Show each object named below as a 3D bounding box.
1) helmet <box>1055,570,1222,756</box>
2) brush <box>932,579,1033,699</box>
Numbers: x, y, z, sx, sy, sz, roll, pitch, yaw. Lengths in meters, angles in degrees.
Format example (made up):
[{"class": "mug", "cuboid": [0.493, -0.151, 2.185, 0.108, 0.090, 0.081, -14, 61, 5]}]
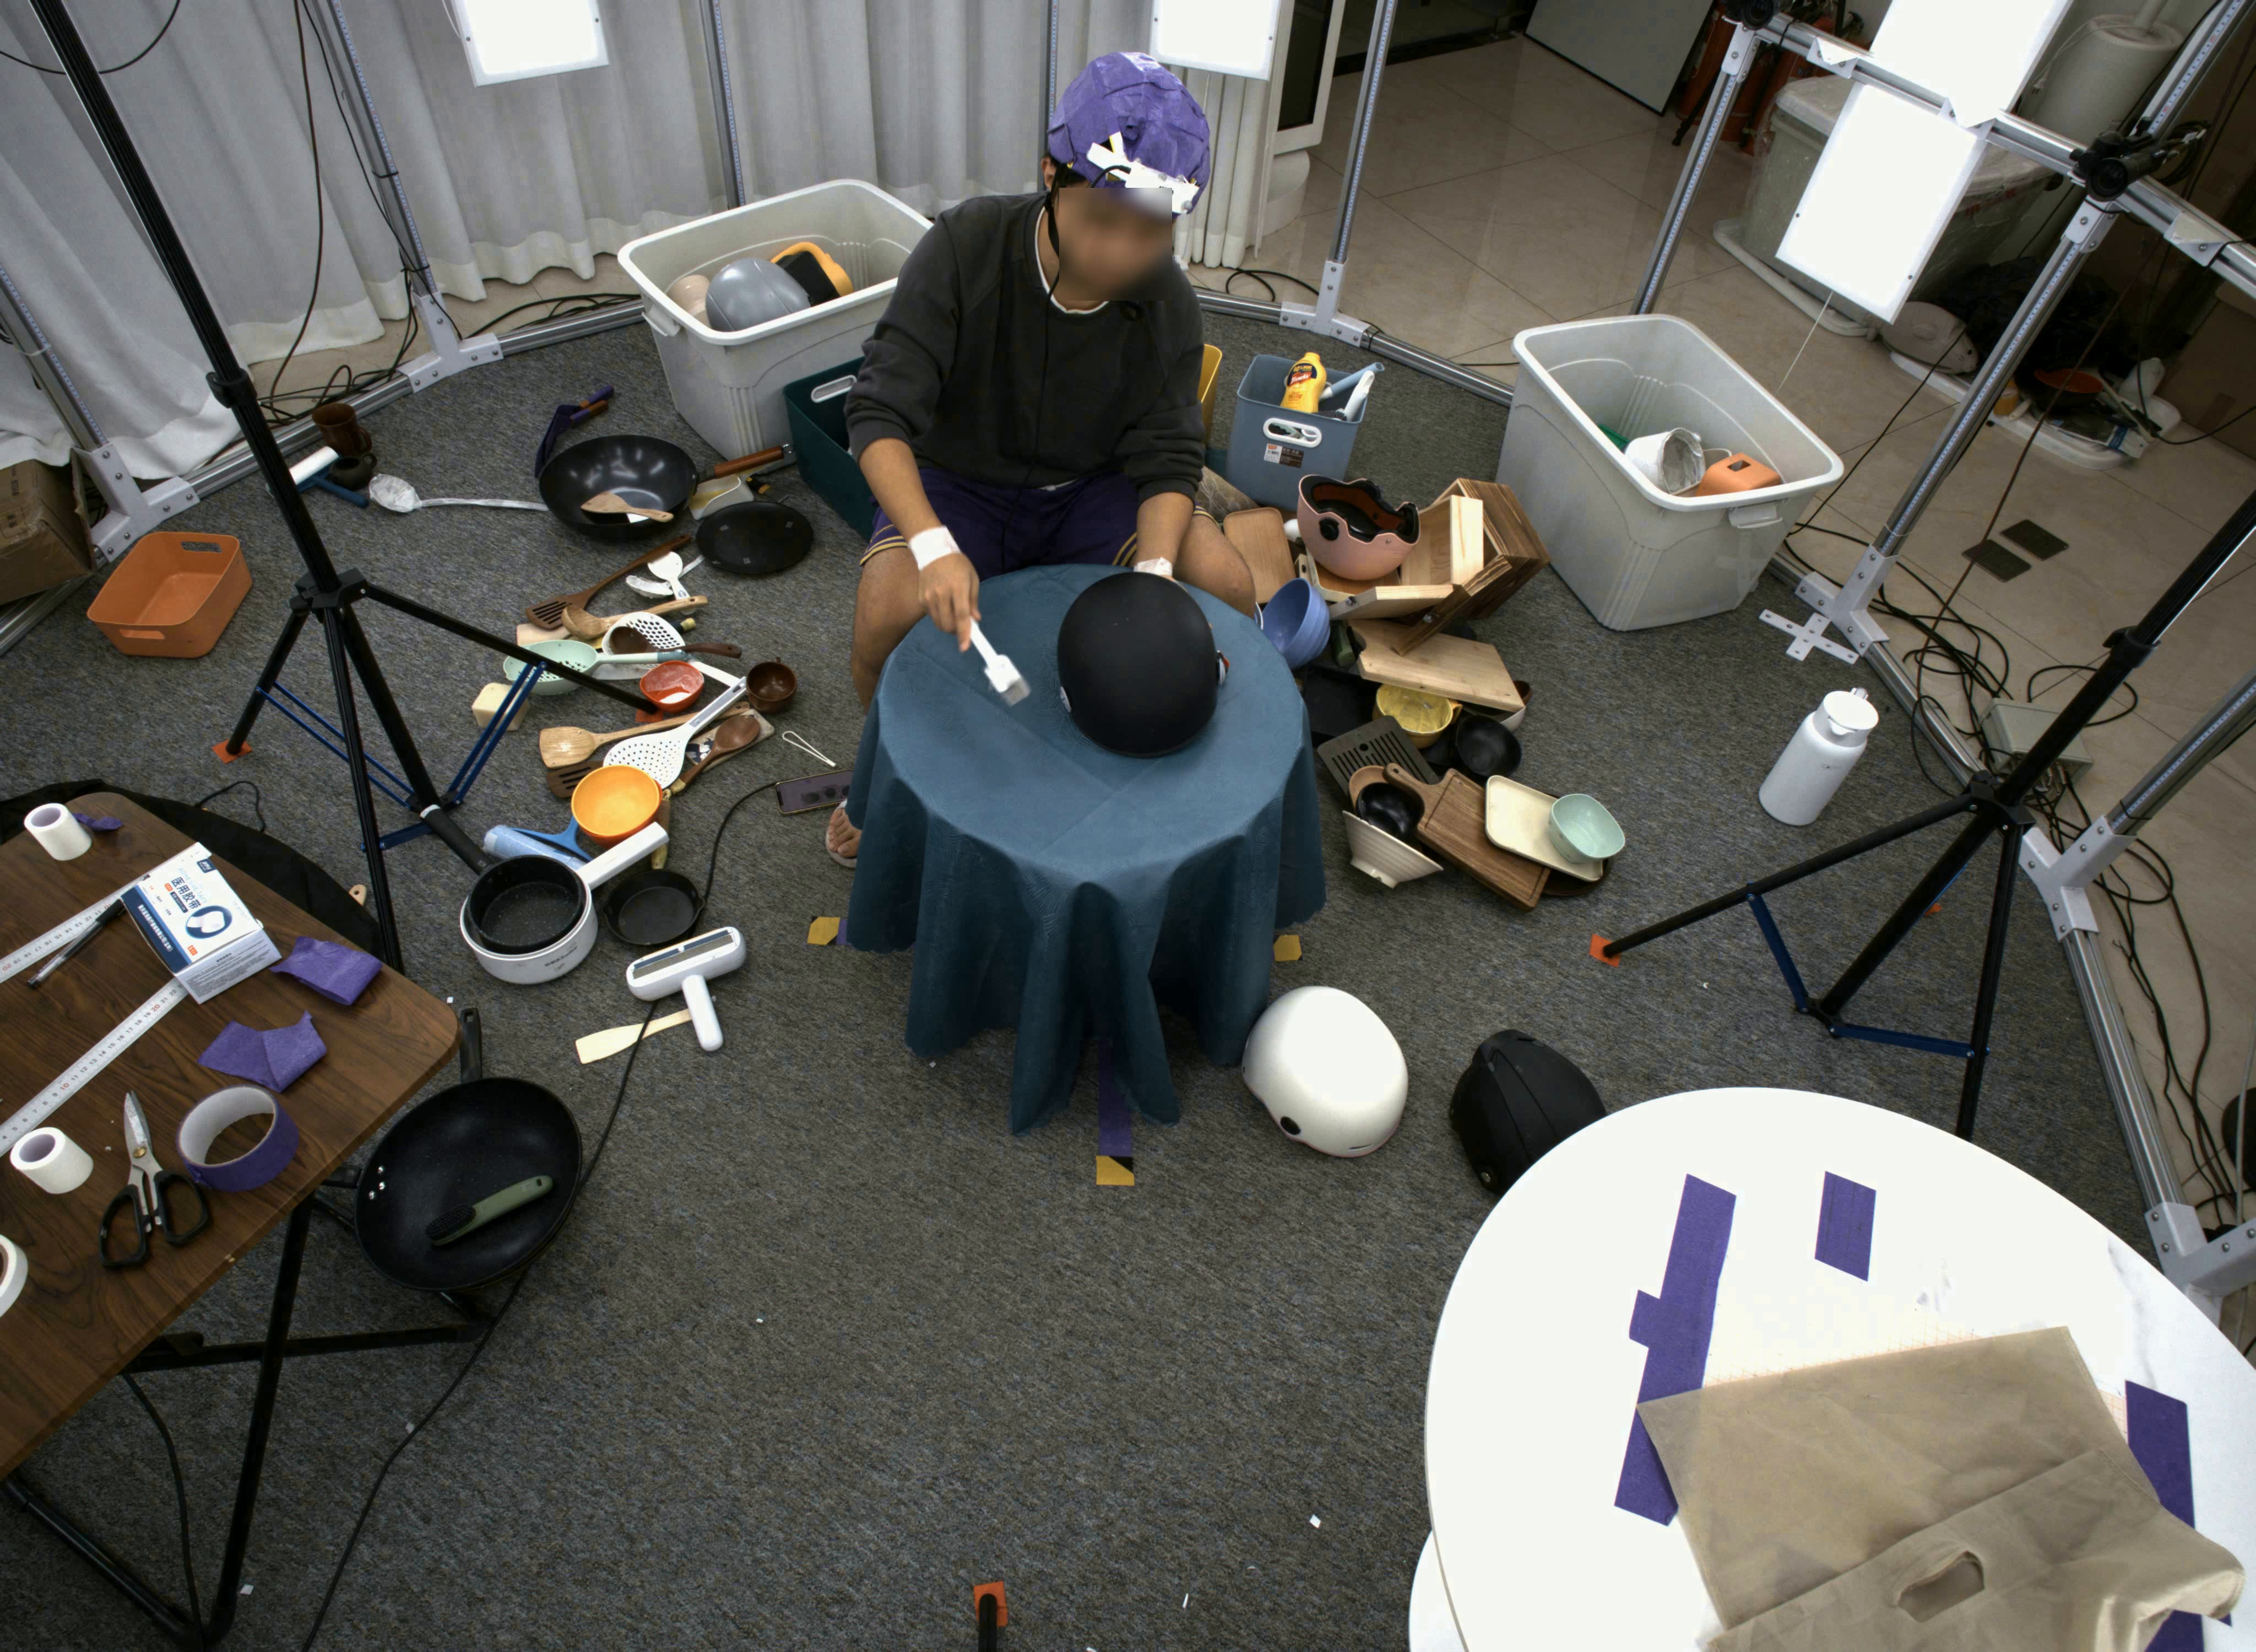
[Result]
[{"class": "helmet", "cuboid": [0.009, -0.246, 1.770, 0.230, 0.163, 0.280, -9, 53, 0]}, {"class": "brush", "cuboid": [-0.197, -0.253, 1.731, 0.034, 0.049, 0.249, -37, 52, -2]}]
